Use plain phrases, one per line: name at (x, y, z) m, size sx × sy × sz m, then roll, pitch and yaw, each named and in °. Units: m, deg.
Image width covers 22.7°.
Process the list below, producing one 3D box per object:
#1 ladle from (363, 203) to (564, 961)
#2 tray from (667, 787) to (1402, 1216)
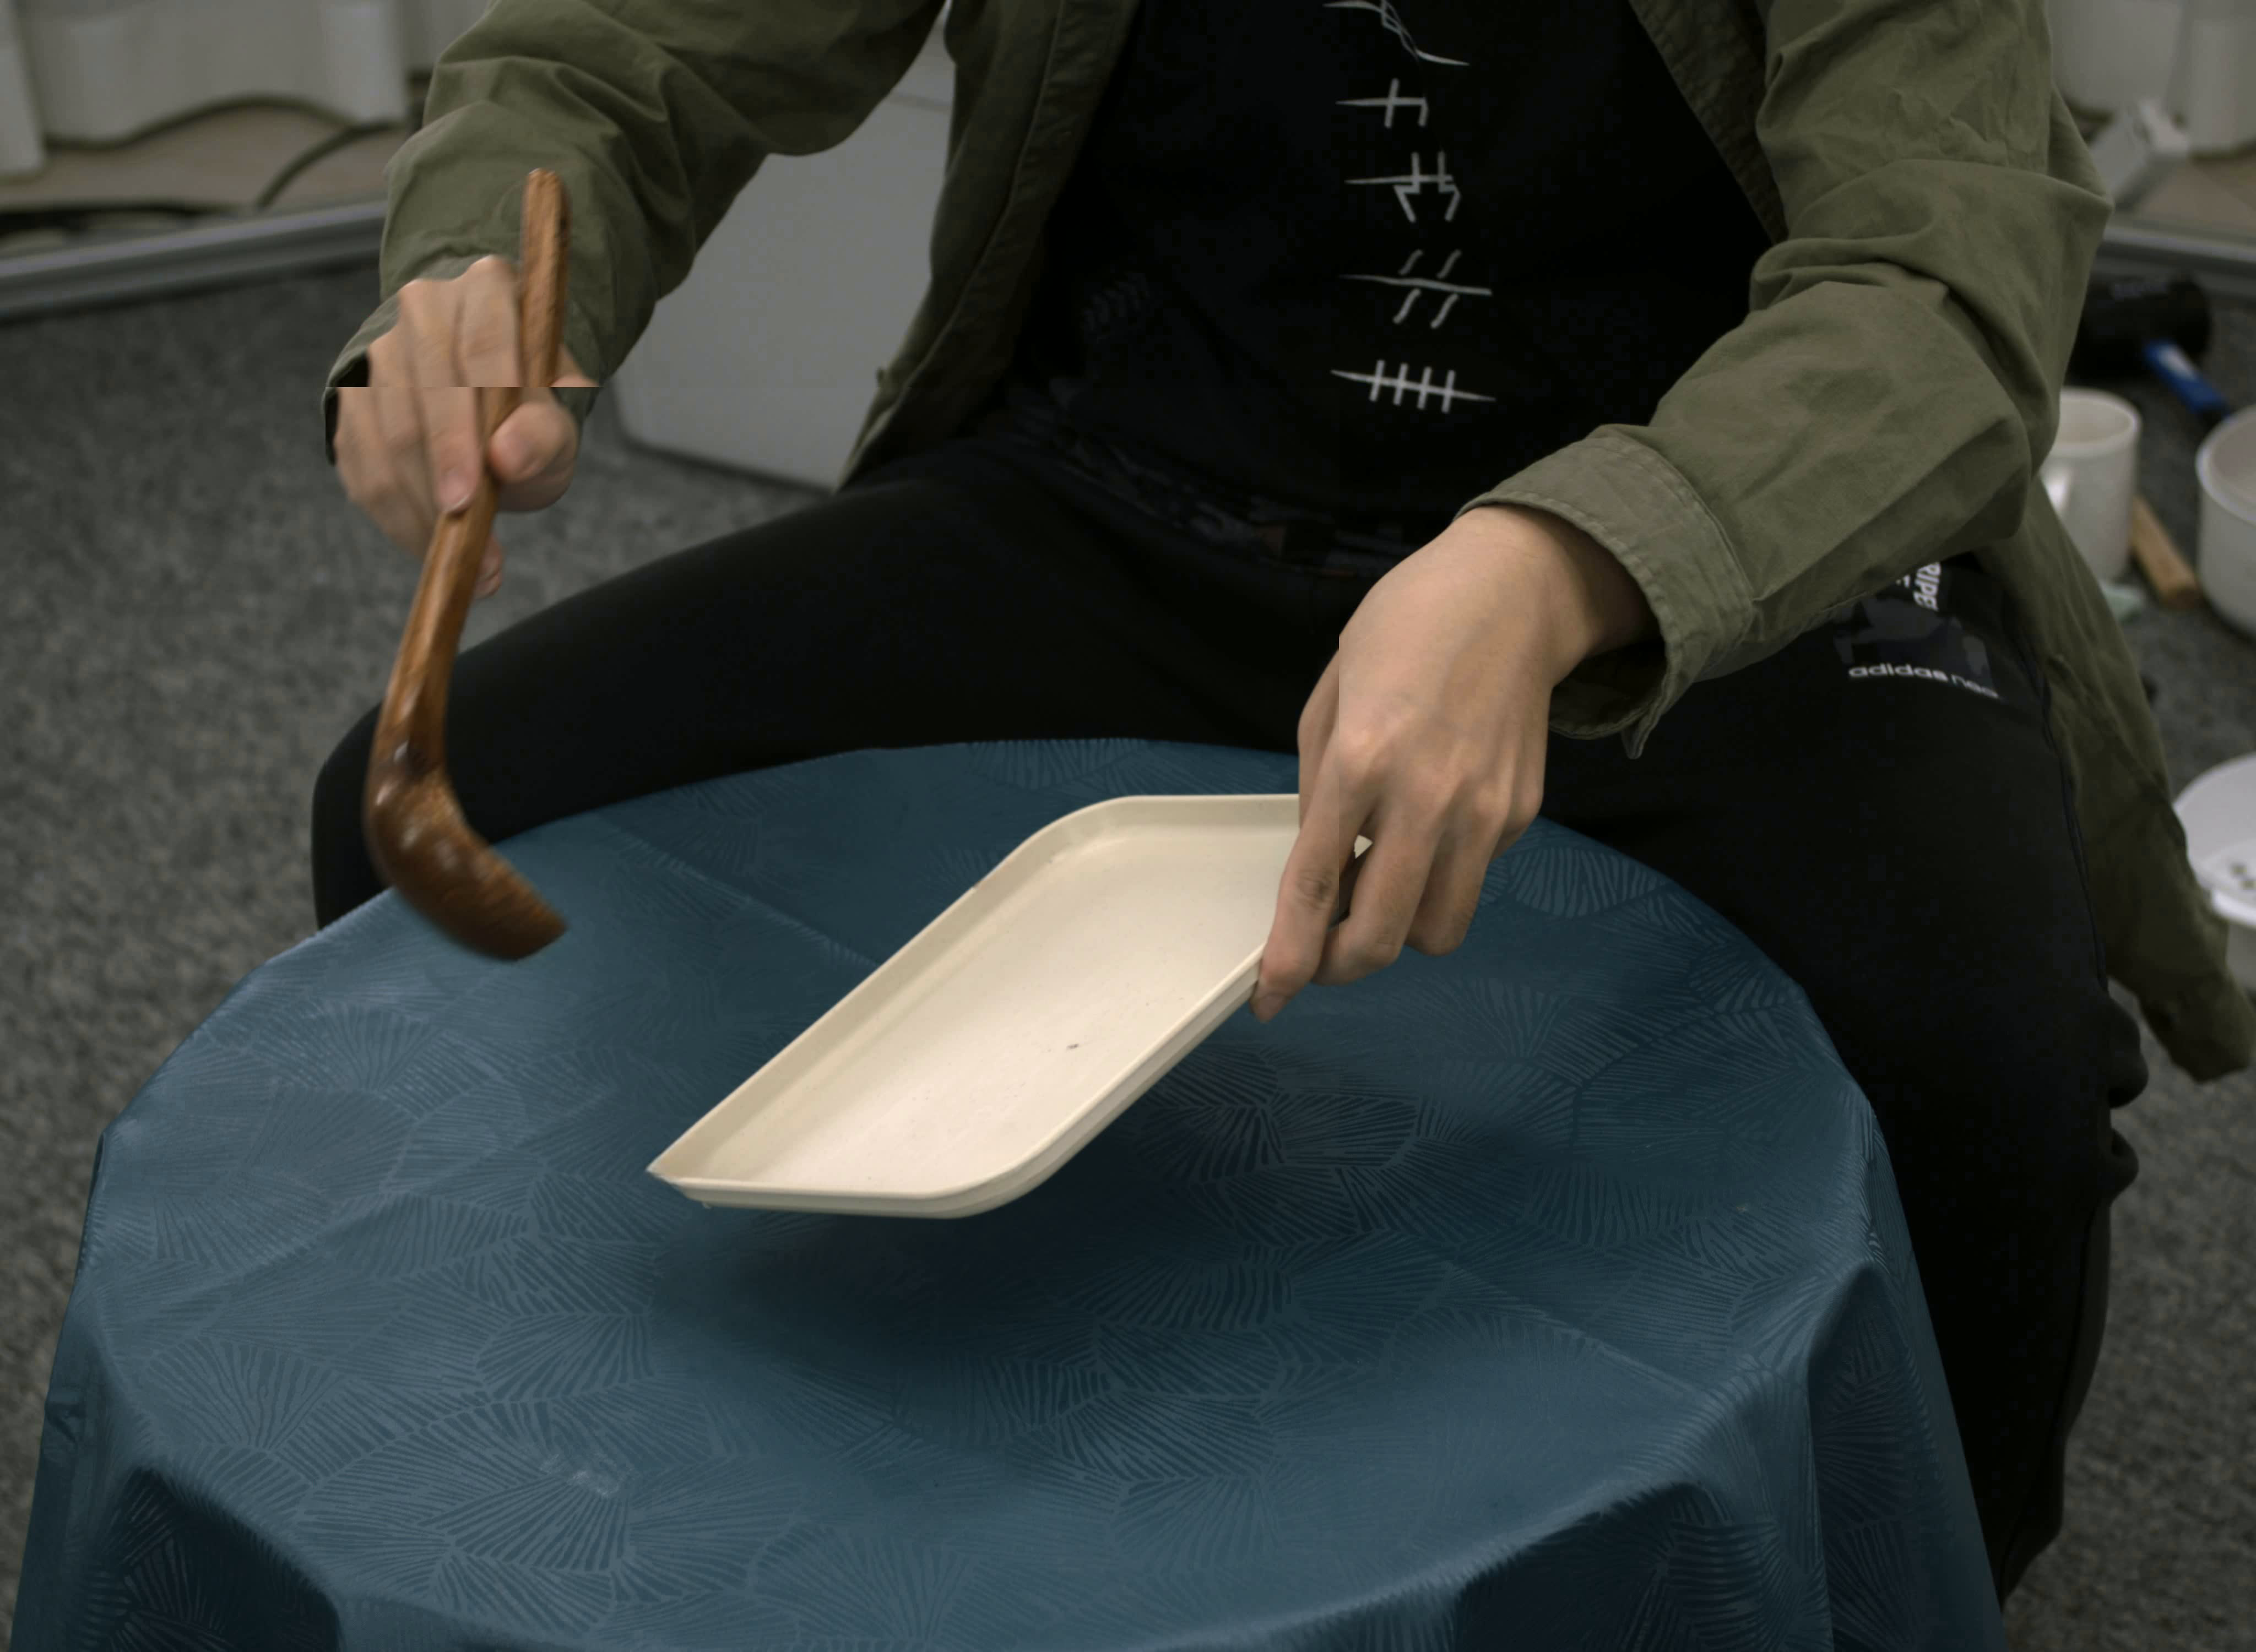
ladle at (-0.200, -0.085, 1.865) m, size 0.076 × 0.081 × 0.279 m, roll 5°, pitch 64°, yaw 10°
tray at (-0.027, 0.057, 1.823) m, size 0.169 × 0.017 × 0.243 m, roll -2°, pitch 30°, yaw 45°
